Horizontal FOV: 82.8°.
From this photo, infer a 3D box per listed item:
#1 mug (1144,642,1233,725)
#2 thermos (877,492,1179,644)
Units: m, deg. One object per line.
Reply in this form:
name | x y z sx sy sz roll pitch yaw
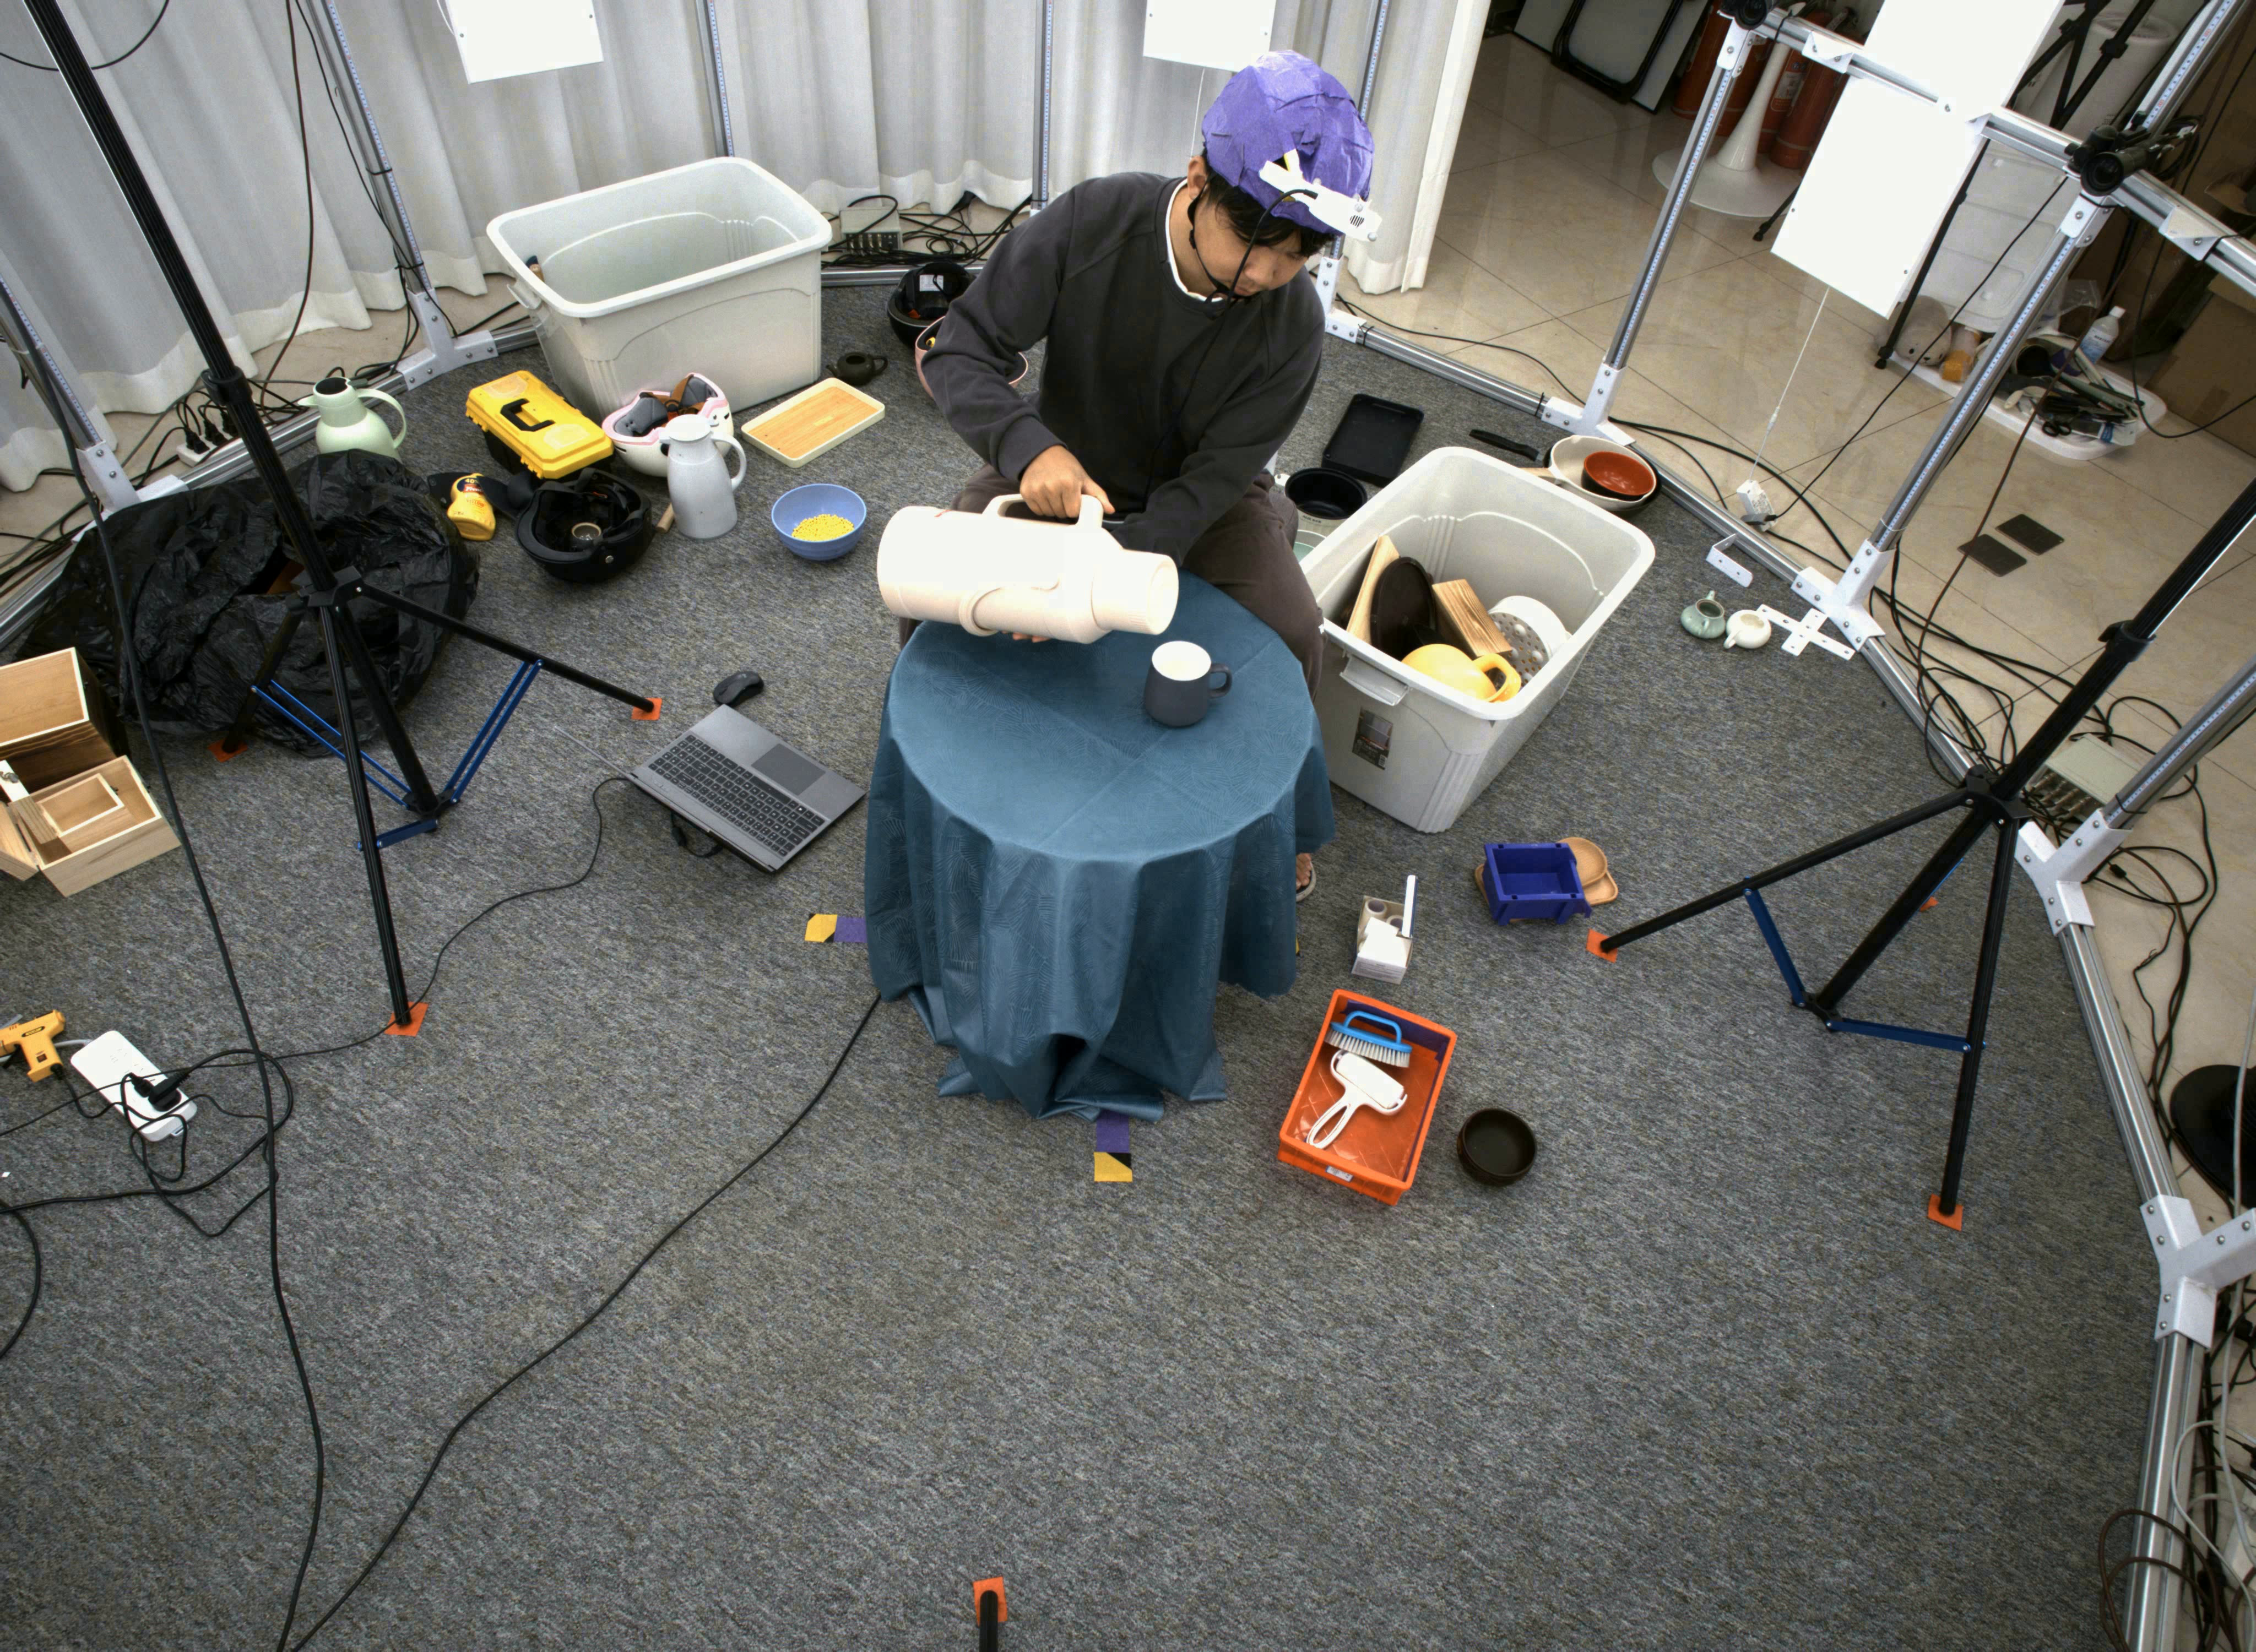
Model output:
mug | 0.086 -0.199 1.786 0.123 0.088 0.096 -4 49 -7
thermos | -0.131 -0.354 1.761 0.409 0.206 0.175 12 9 25
